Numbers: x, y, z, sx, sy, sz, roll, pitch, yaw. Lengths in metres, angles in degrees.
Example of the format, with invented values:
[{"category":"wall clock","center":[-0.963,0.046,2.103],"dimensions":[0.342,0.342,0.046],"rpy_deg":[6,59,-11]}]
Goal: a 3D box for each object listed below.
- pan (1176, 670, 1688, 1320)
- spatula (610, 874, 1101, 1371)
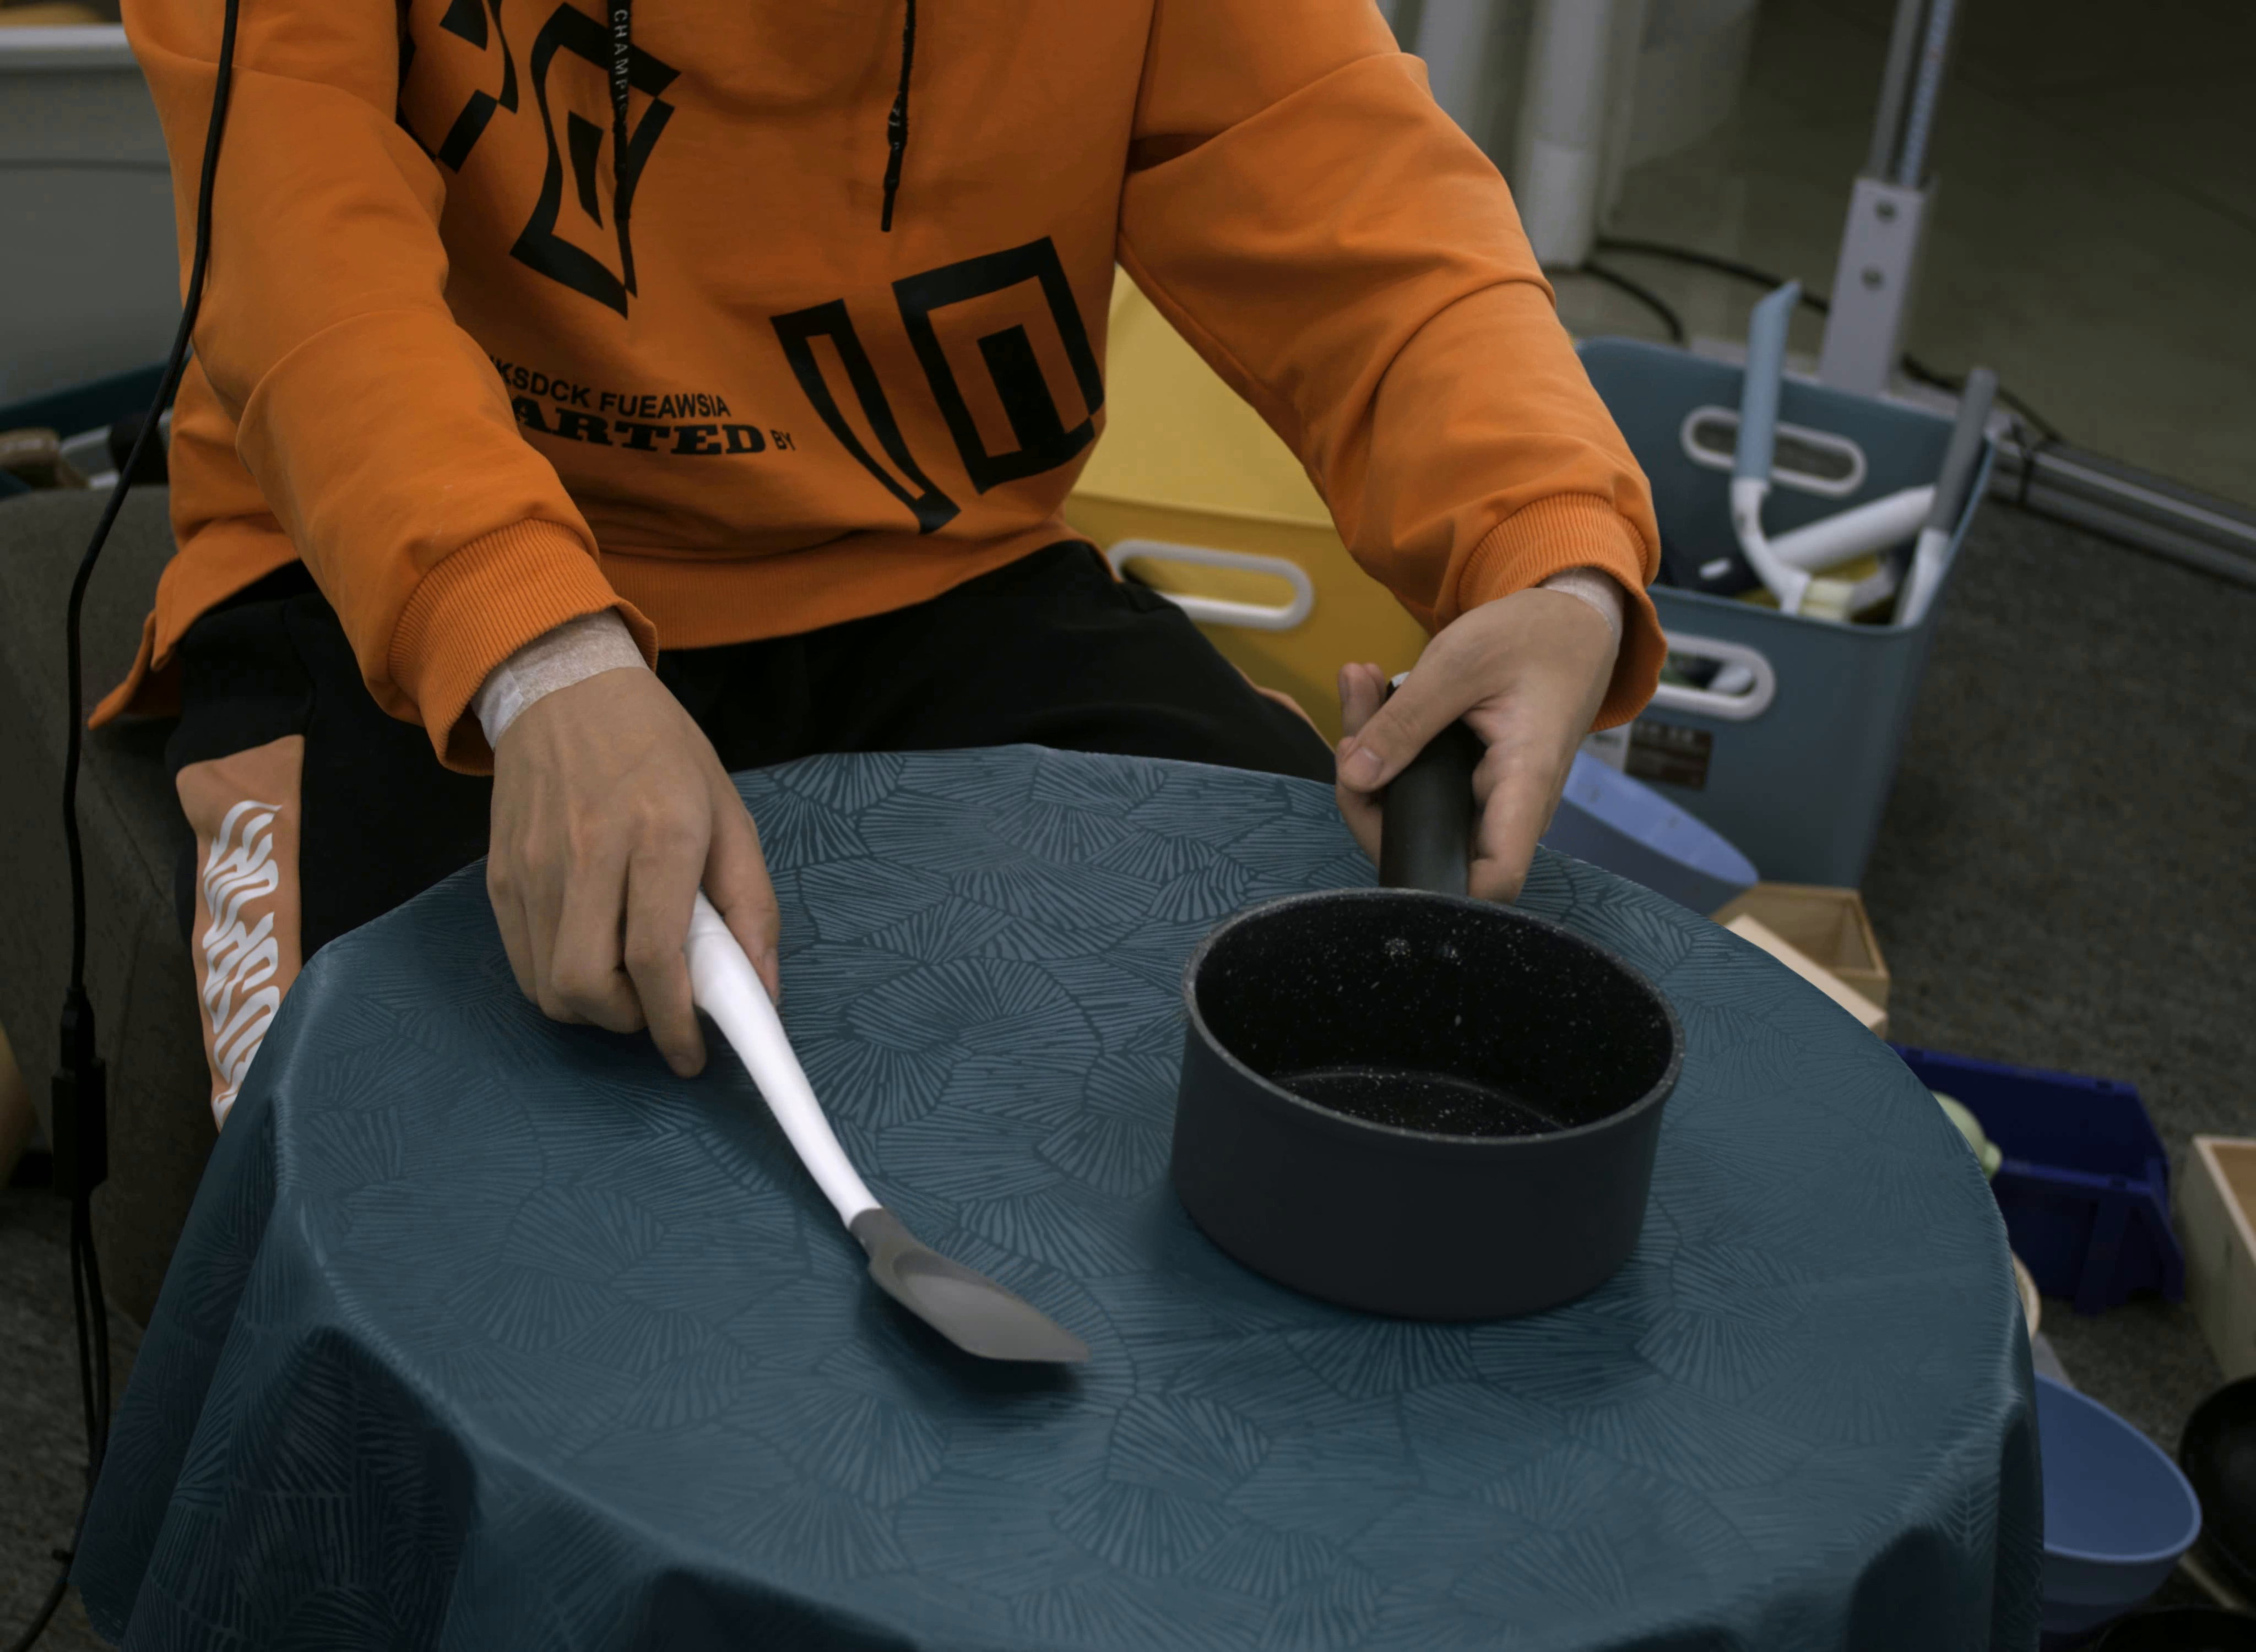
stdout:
[{"category":"pan","center":[0.106,0.055,1.868],"dimensions":[0.171,0.086,0.330],"rpy_deg":[8,29,2]},{"category":"spatula","center":[-0.099,0.104,1.774],"dimensions":[0.058,0.032,0.290],"rpy_deg":[12,24,-39]}]
